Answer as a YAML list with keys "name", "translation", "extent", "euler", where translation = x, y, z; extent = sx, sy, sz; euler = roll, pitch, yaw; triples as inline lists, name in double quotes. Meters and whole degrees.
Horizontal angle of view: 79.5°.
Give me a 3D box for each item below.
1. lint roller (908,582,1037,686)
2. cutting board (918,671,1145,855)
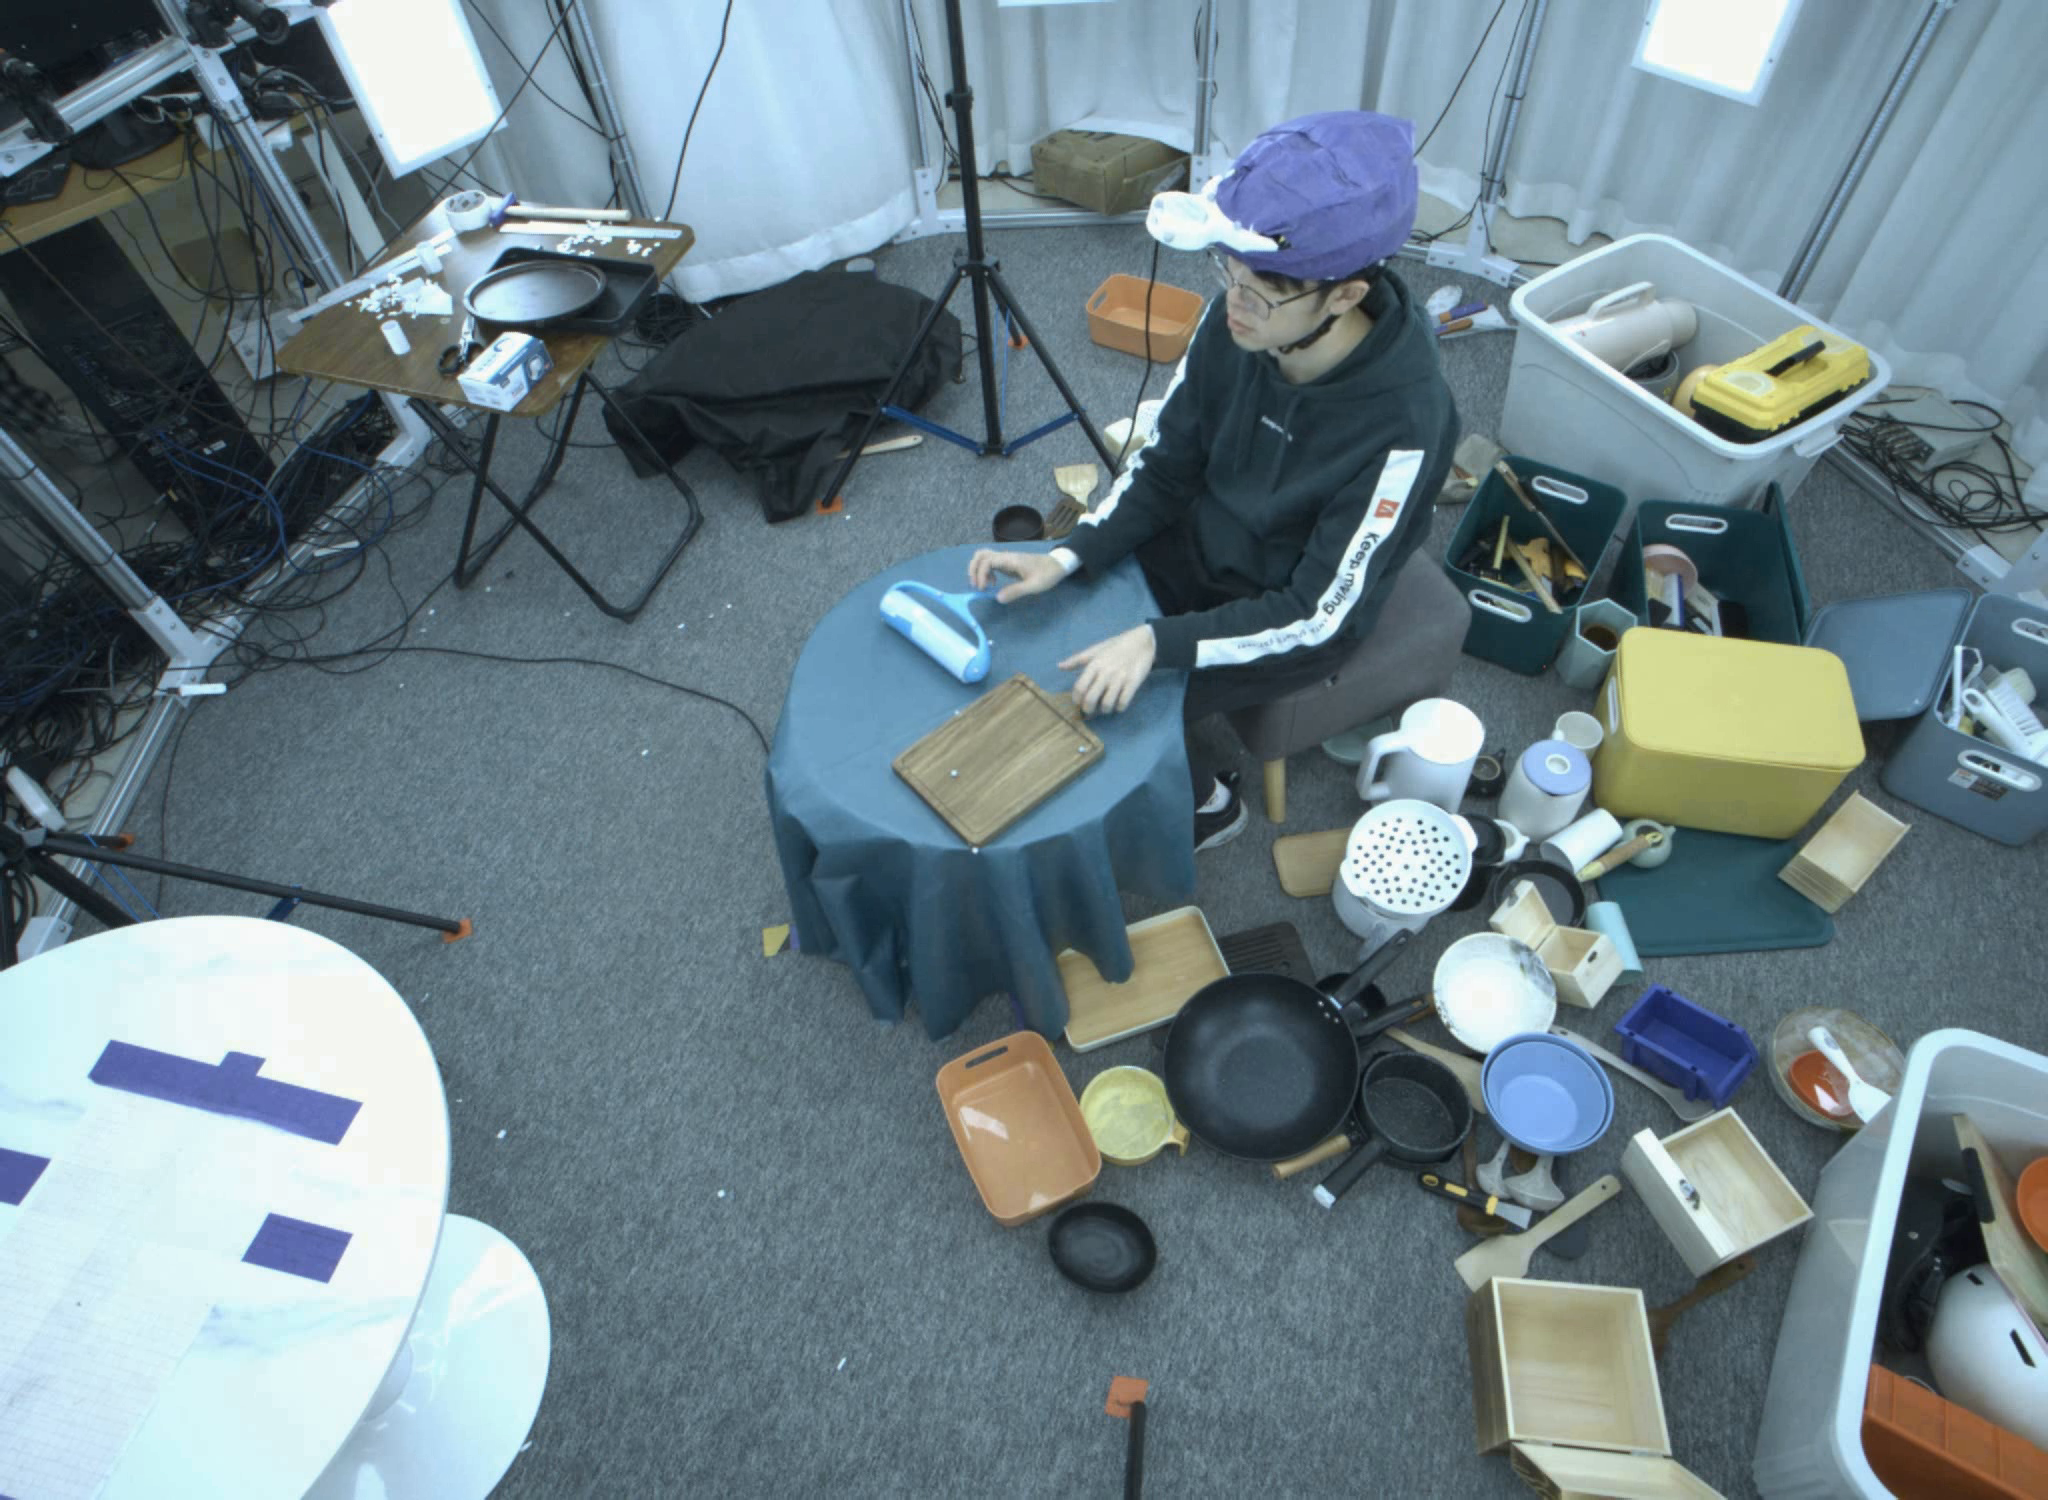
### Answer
- name: "lint roller"
  translation: [-0.054, -0.209, 1.898]
  extent: [0.224, 0.069, 0.181]
  euler: [37, 65, 26]
- name: "cutting board"
  translation: [0.041, -0.012, 1.776]
  extent: [0.355, 0.023, 0.197]
  euler: [-35, 61, -21]
